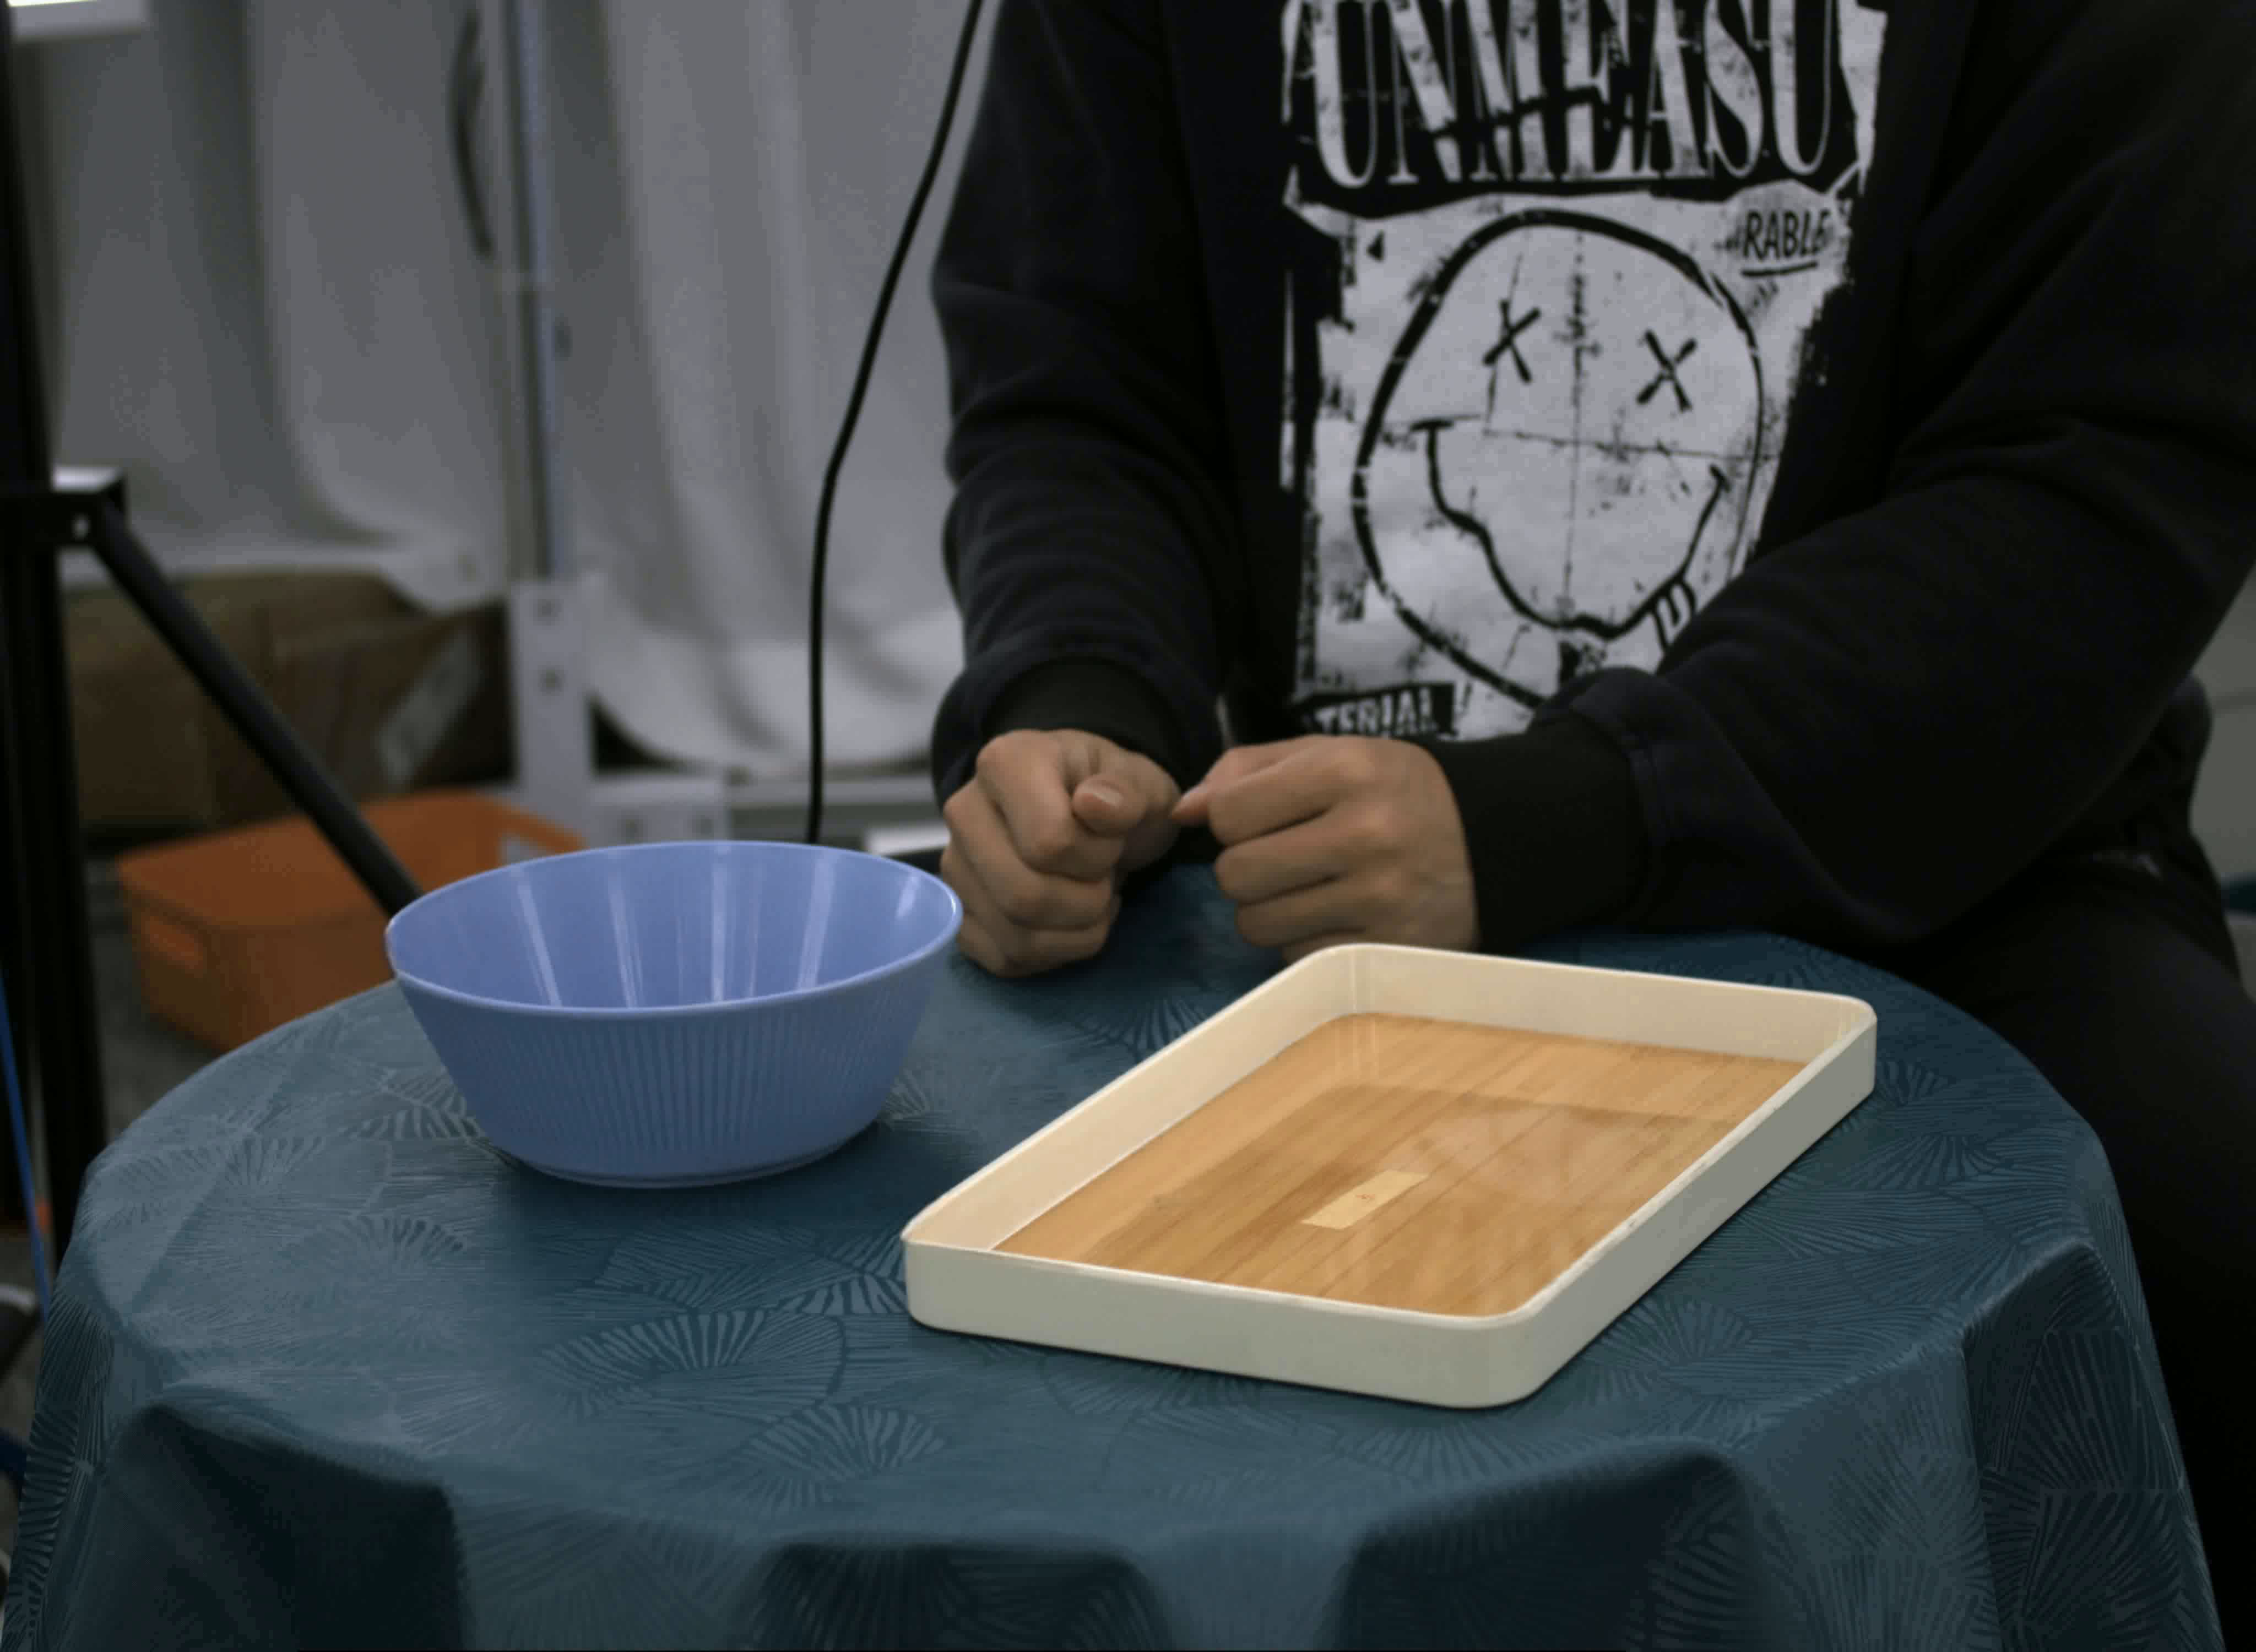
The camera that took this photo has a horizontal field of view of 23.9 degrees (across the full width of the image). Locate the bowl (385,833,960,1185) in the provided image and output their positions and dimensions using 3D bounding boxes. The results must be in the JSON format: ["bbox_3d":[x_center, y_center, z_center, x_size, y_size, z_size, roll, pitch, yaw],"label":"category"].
[{"bbox_3d":[-0.137,0.058,1.625,0.175,0.070,0.177,-3,17,-1],"label":"bowl"}]

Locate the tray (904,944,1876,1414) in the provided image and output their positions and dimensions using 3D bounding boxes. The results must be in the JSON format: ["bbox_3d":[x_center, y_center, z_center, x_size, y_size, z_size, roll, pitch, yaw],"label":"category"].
[{"bbox_3d":[0.083,0.096,1.537,0.195,0.027,0.295,6,18,27],"label":"tray"}]
